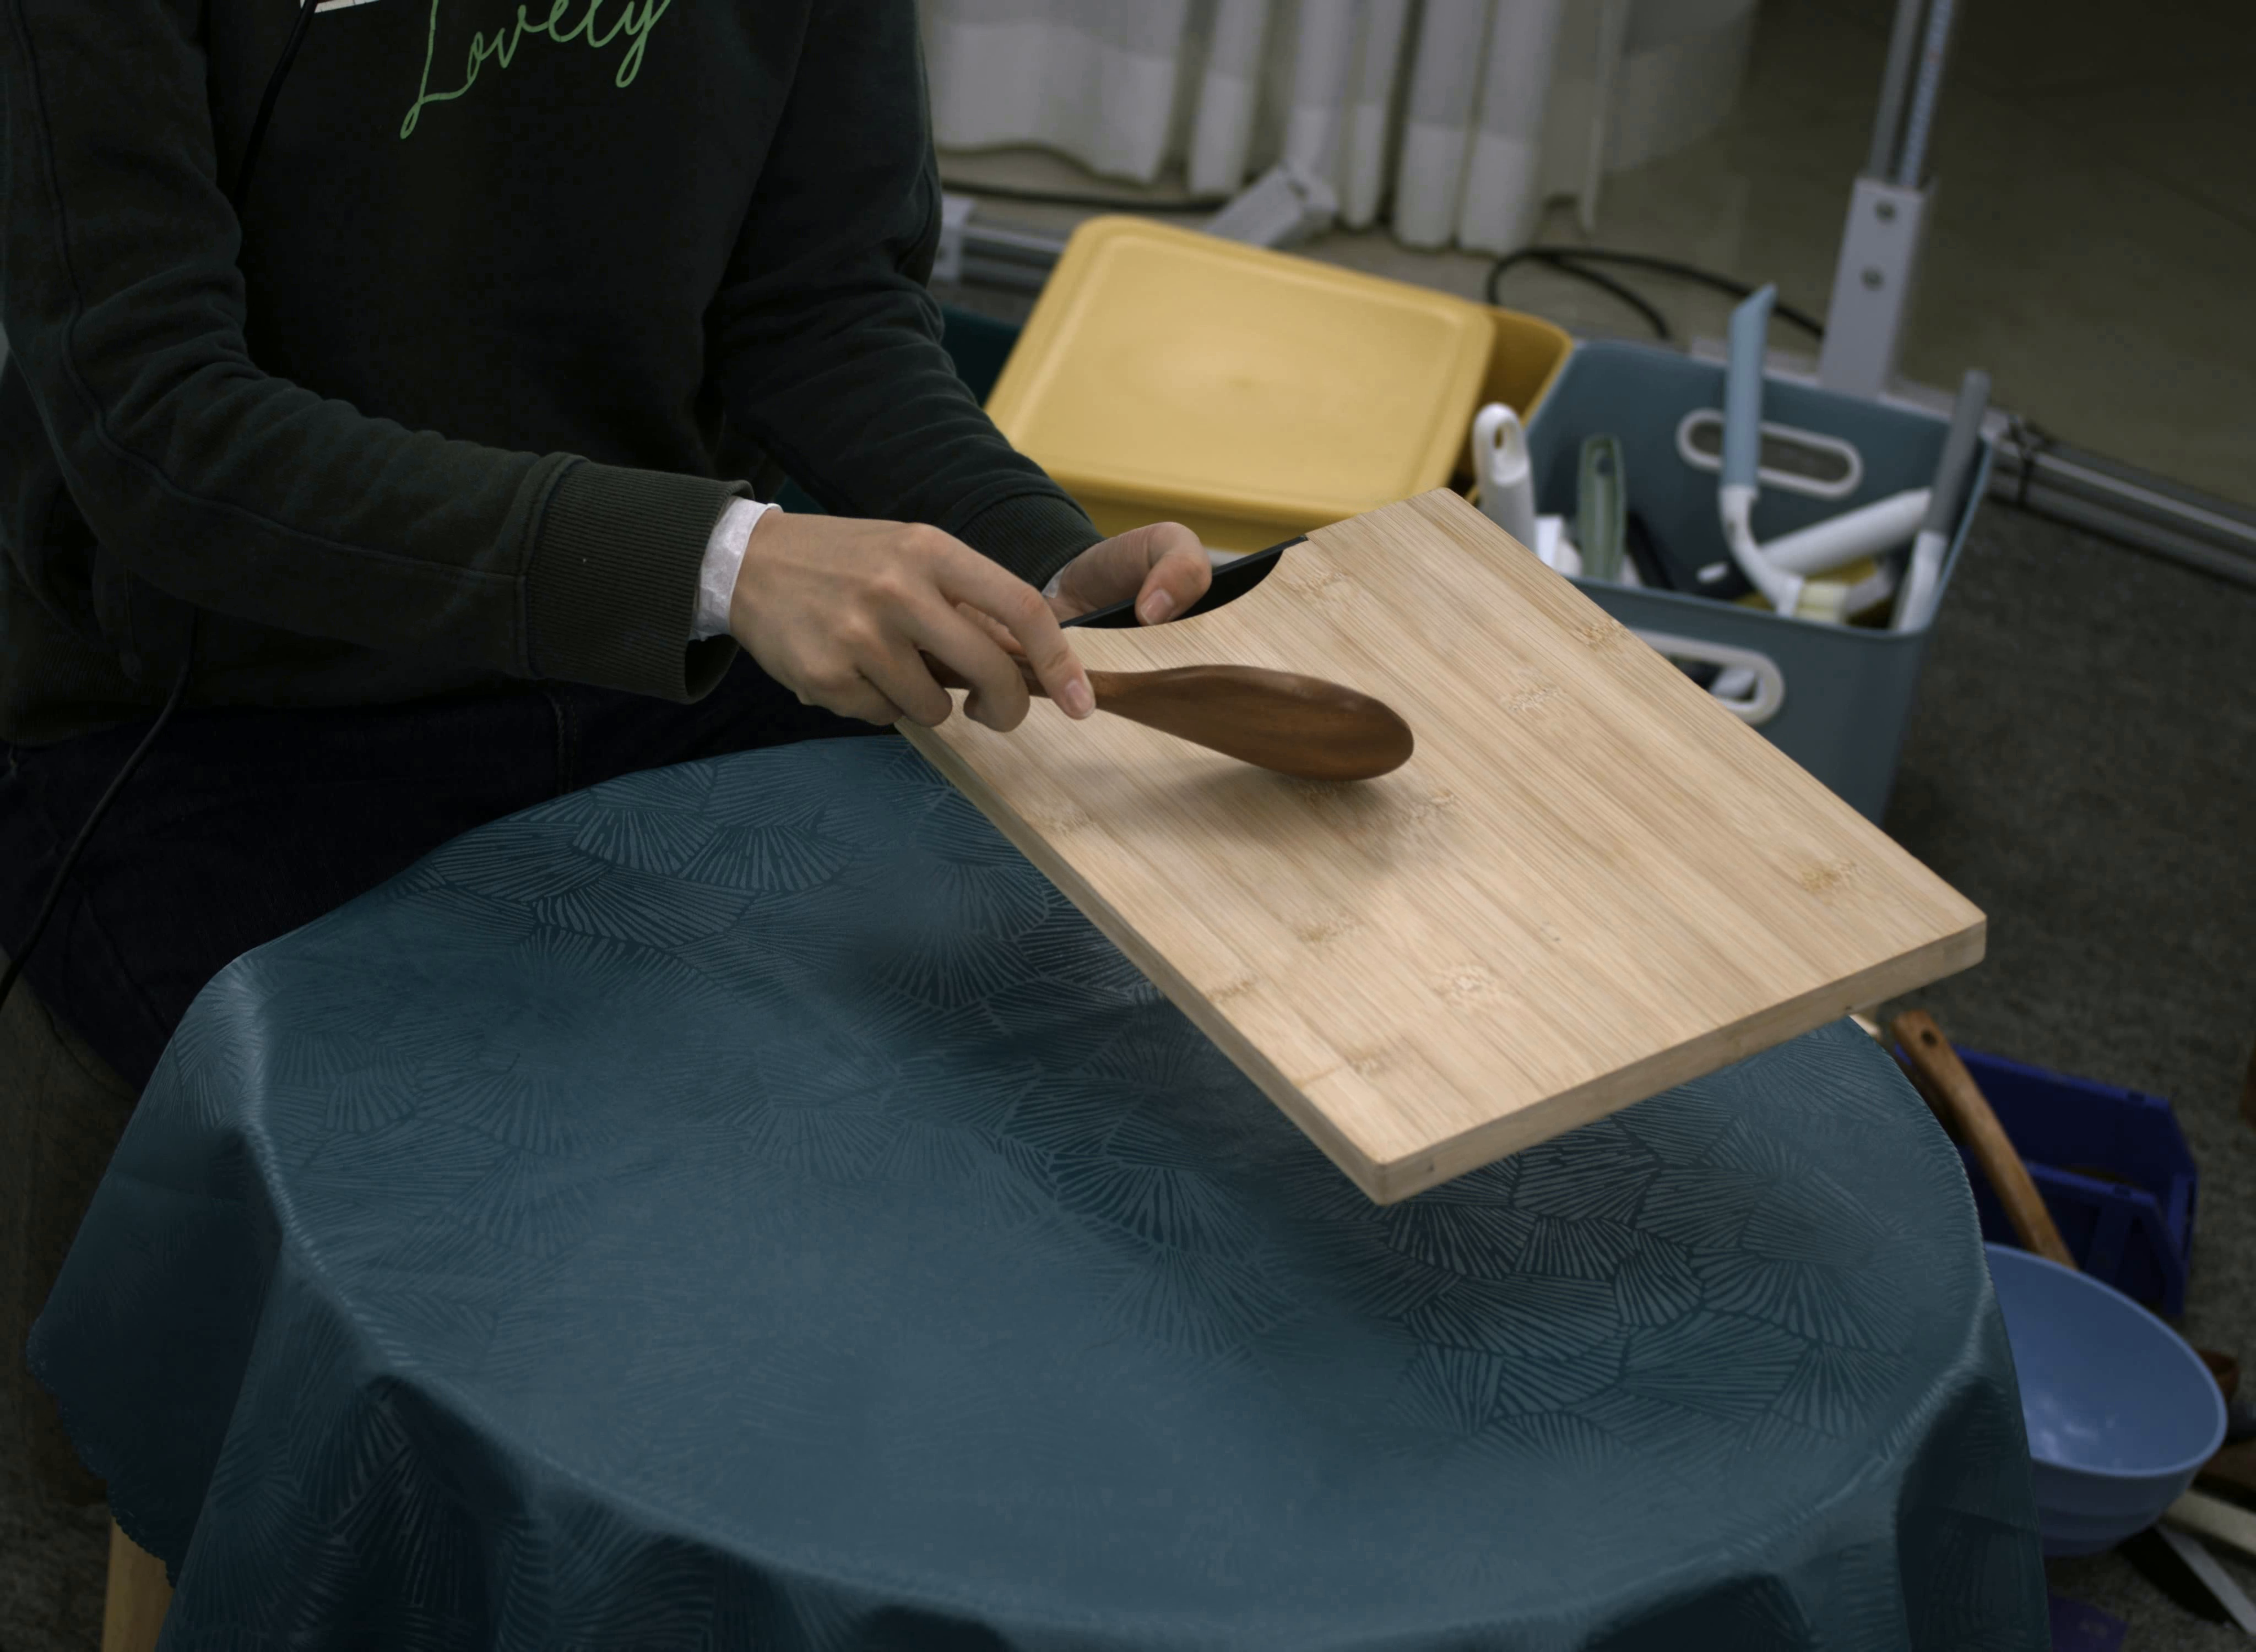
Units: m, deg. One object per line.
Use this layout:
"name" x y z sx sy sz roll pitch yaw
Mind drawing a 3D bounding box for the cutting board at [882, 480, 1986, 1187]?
"cutting board" 0.098 -0.006 1.851 0.249 0.023 0.352 -20 37 -23

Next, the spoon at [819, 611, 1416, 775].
"spoon" -0.005 -0.046 1.845 0.216 0.017 0.075 11 -17 15
